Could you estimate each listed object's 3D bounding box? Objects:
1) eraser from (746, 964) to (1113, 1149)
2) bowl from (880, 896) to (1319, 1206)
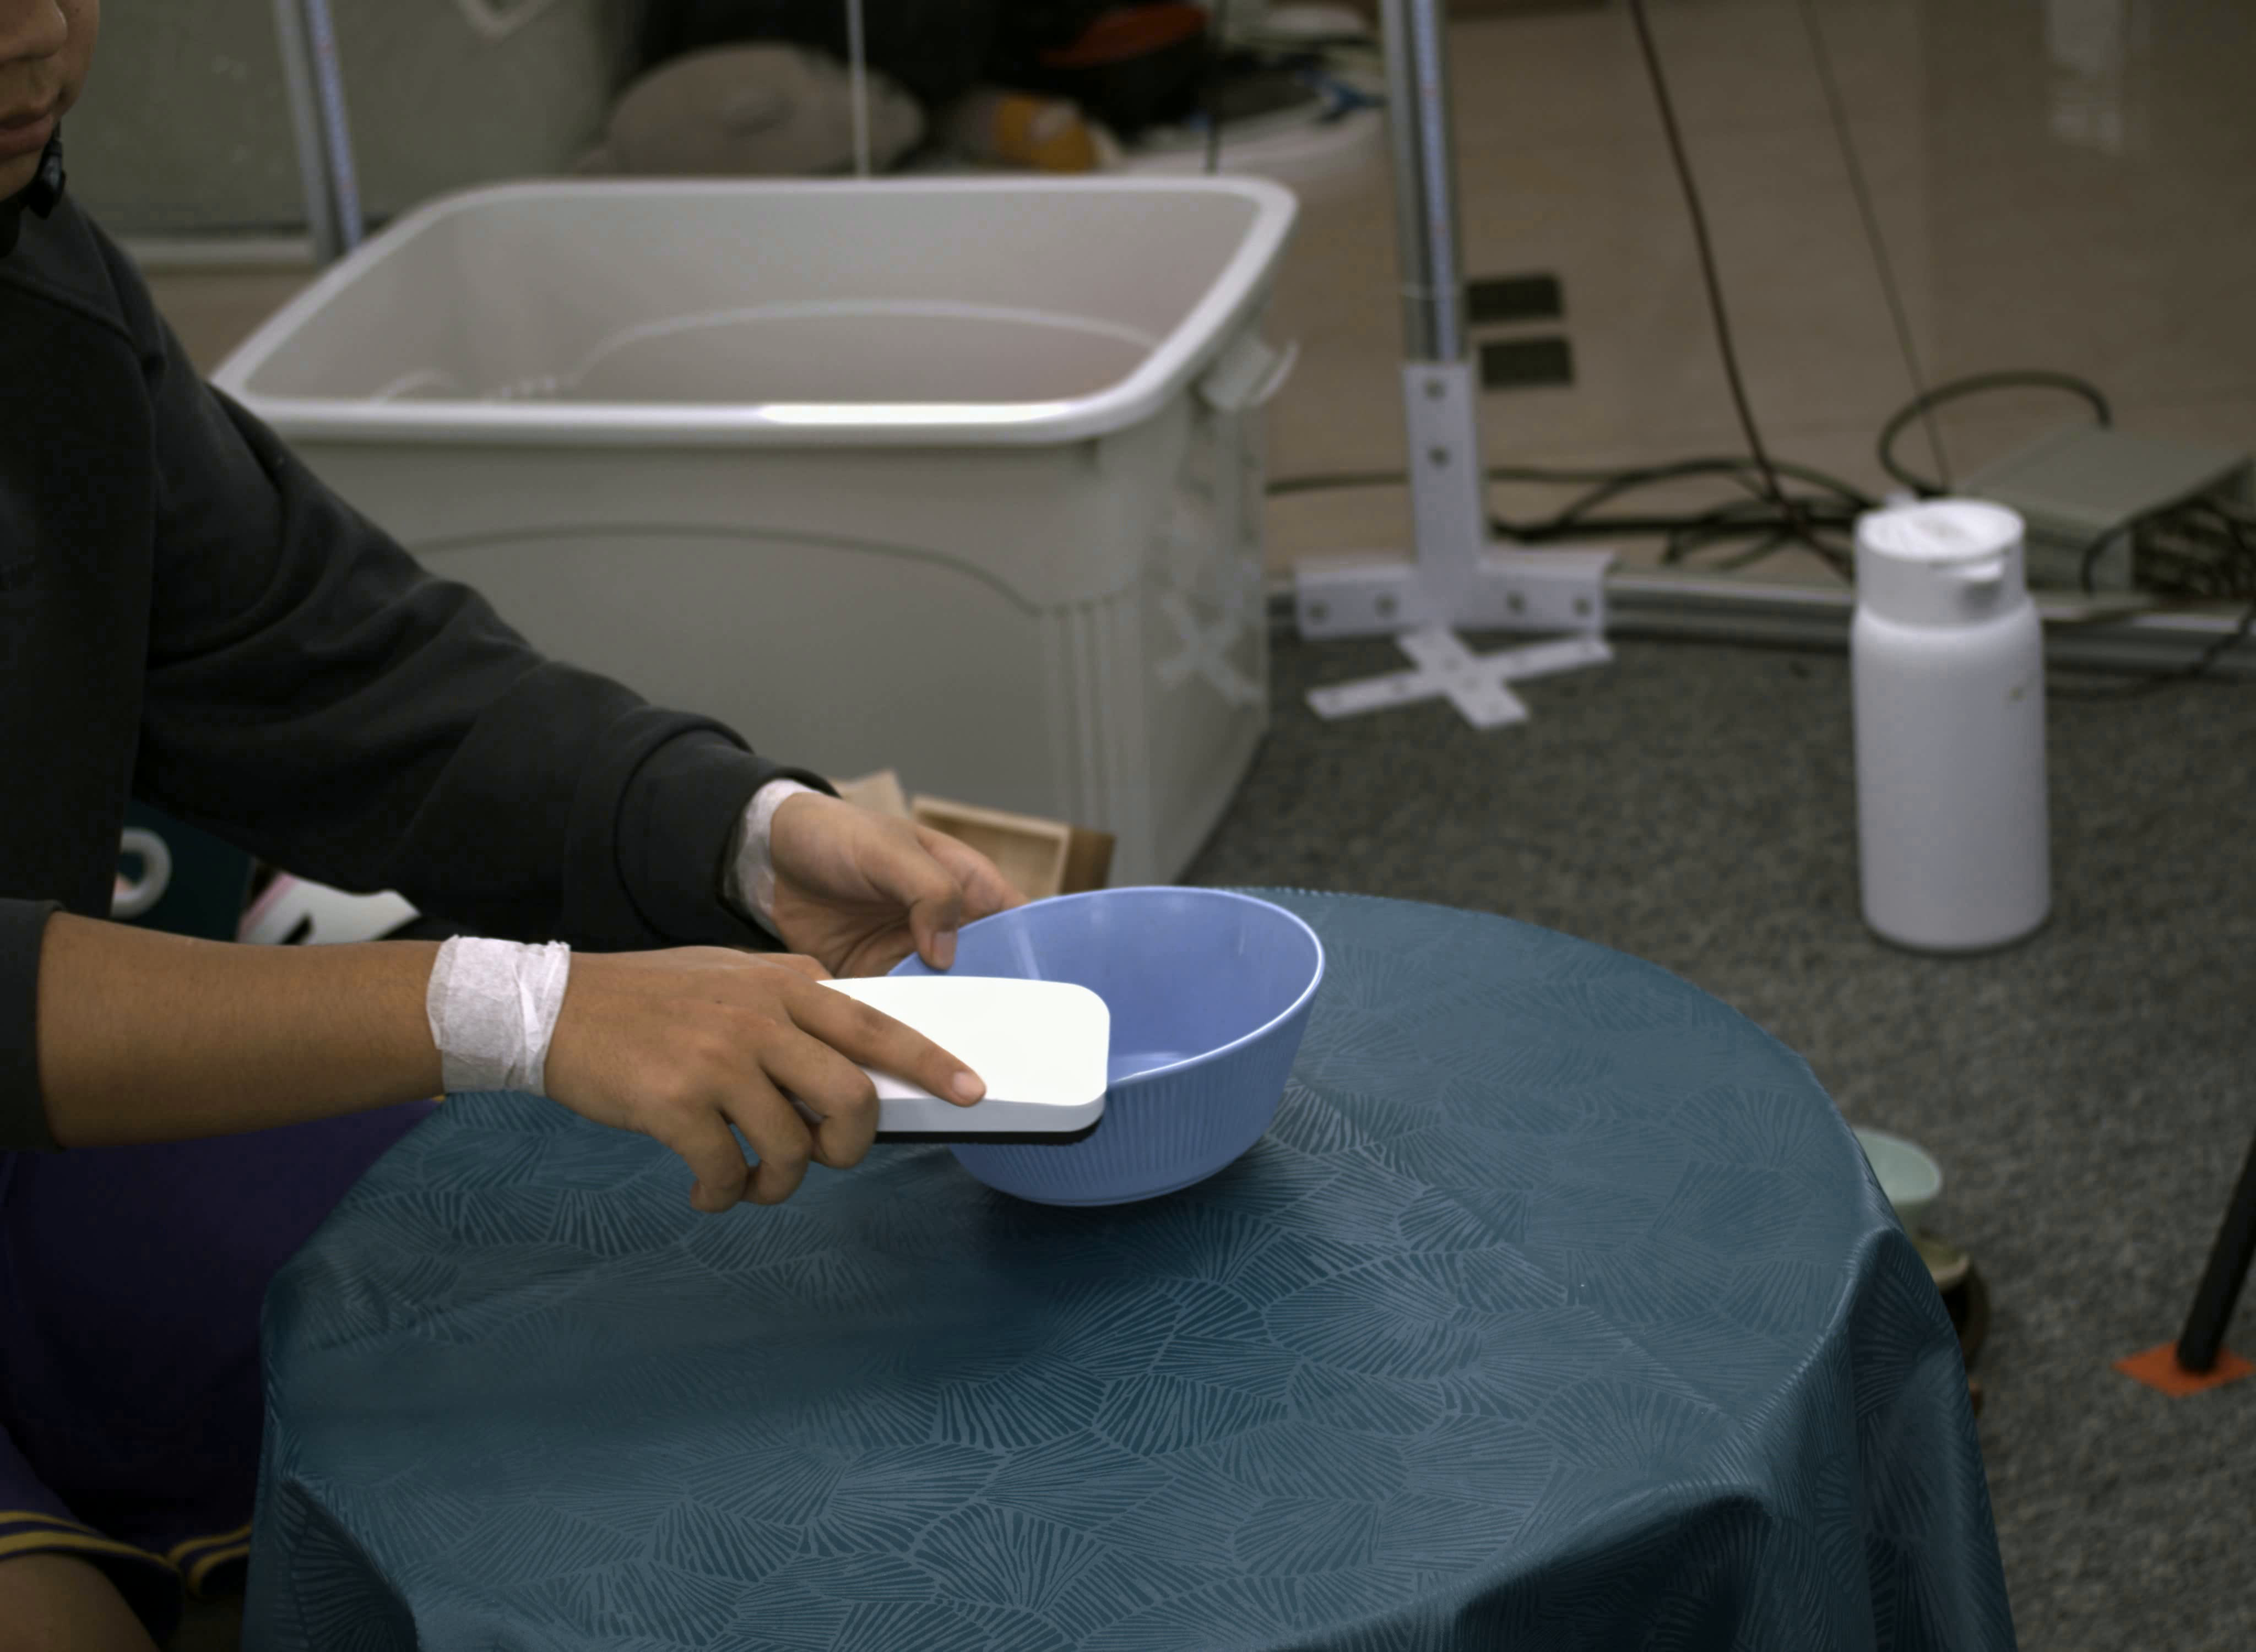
[{"bbox_3d":[-0.071,0.084,2.049,0.131,0.035,0.062,2,44,2],"label":"eraser"},{"bbox_3d":[-0.011,0.090,2.151,0.176,0.071,0.173,-6,22,3],"label":"bowl"}]
